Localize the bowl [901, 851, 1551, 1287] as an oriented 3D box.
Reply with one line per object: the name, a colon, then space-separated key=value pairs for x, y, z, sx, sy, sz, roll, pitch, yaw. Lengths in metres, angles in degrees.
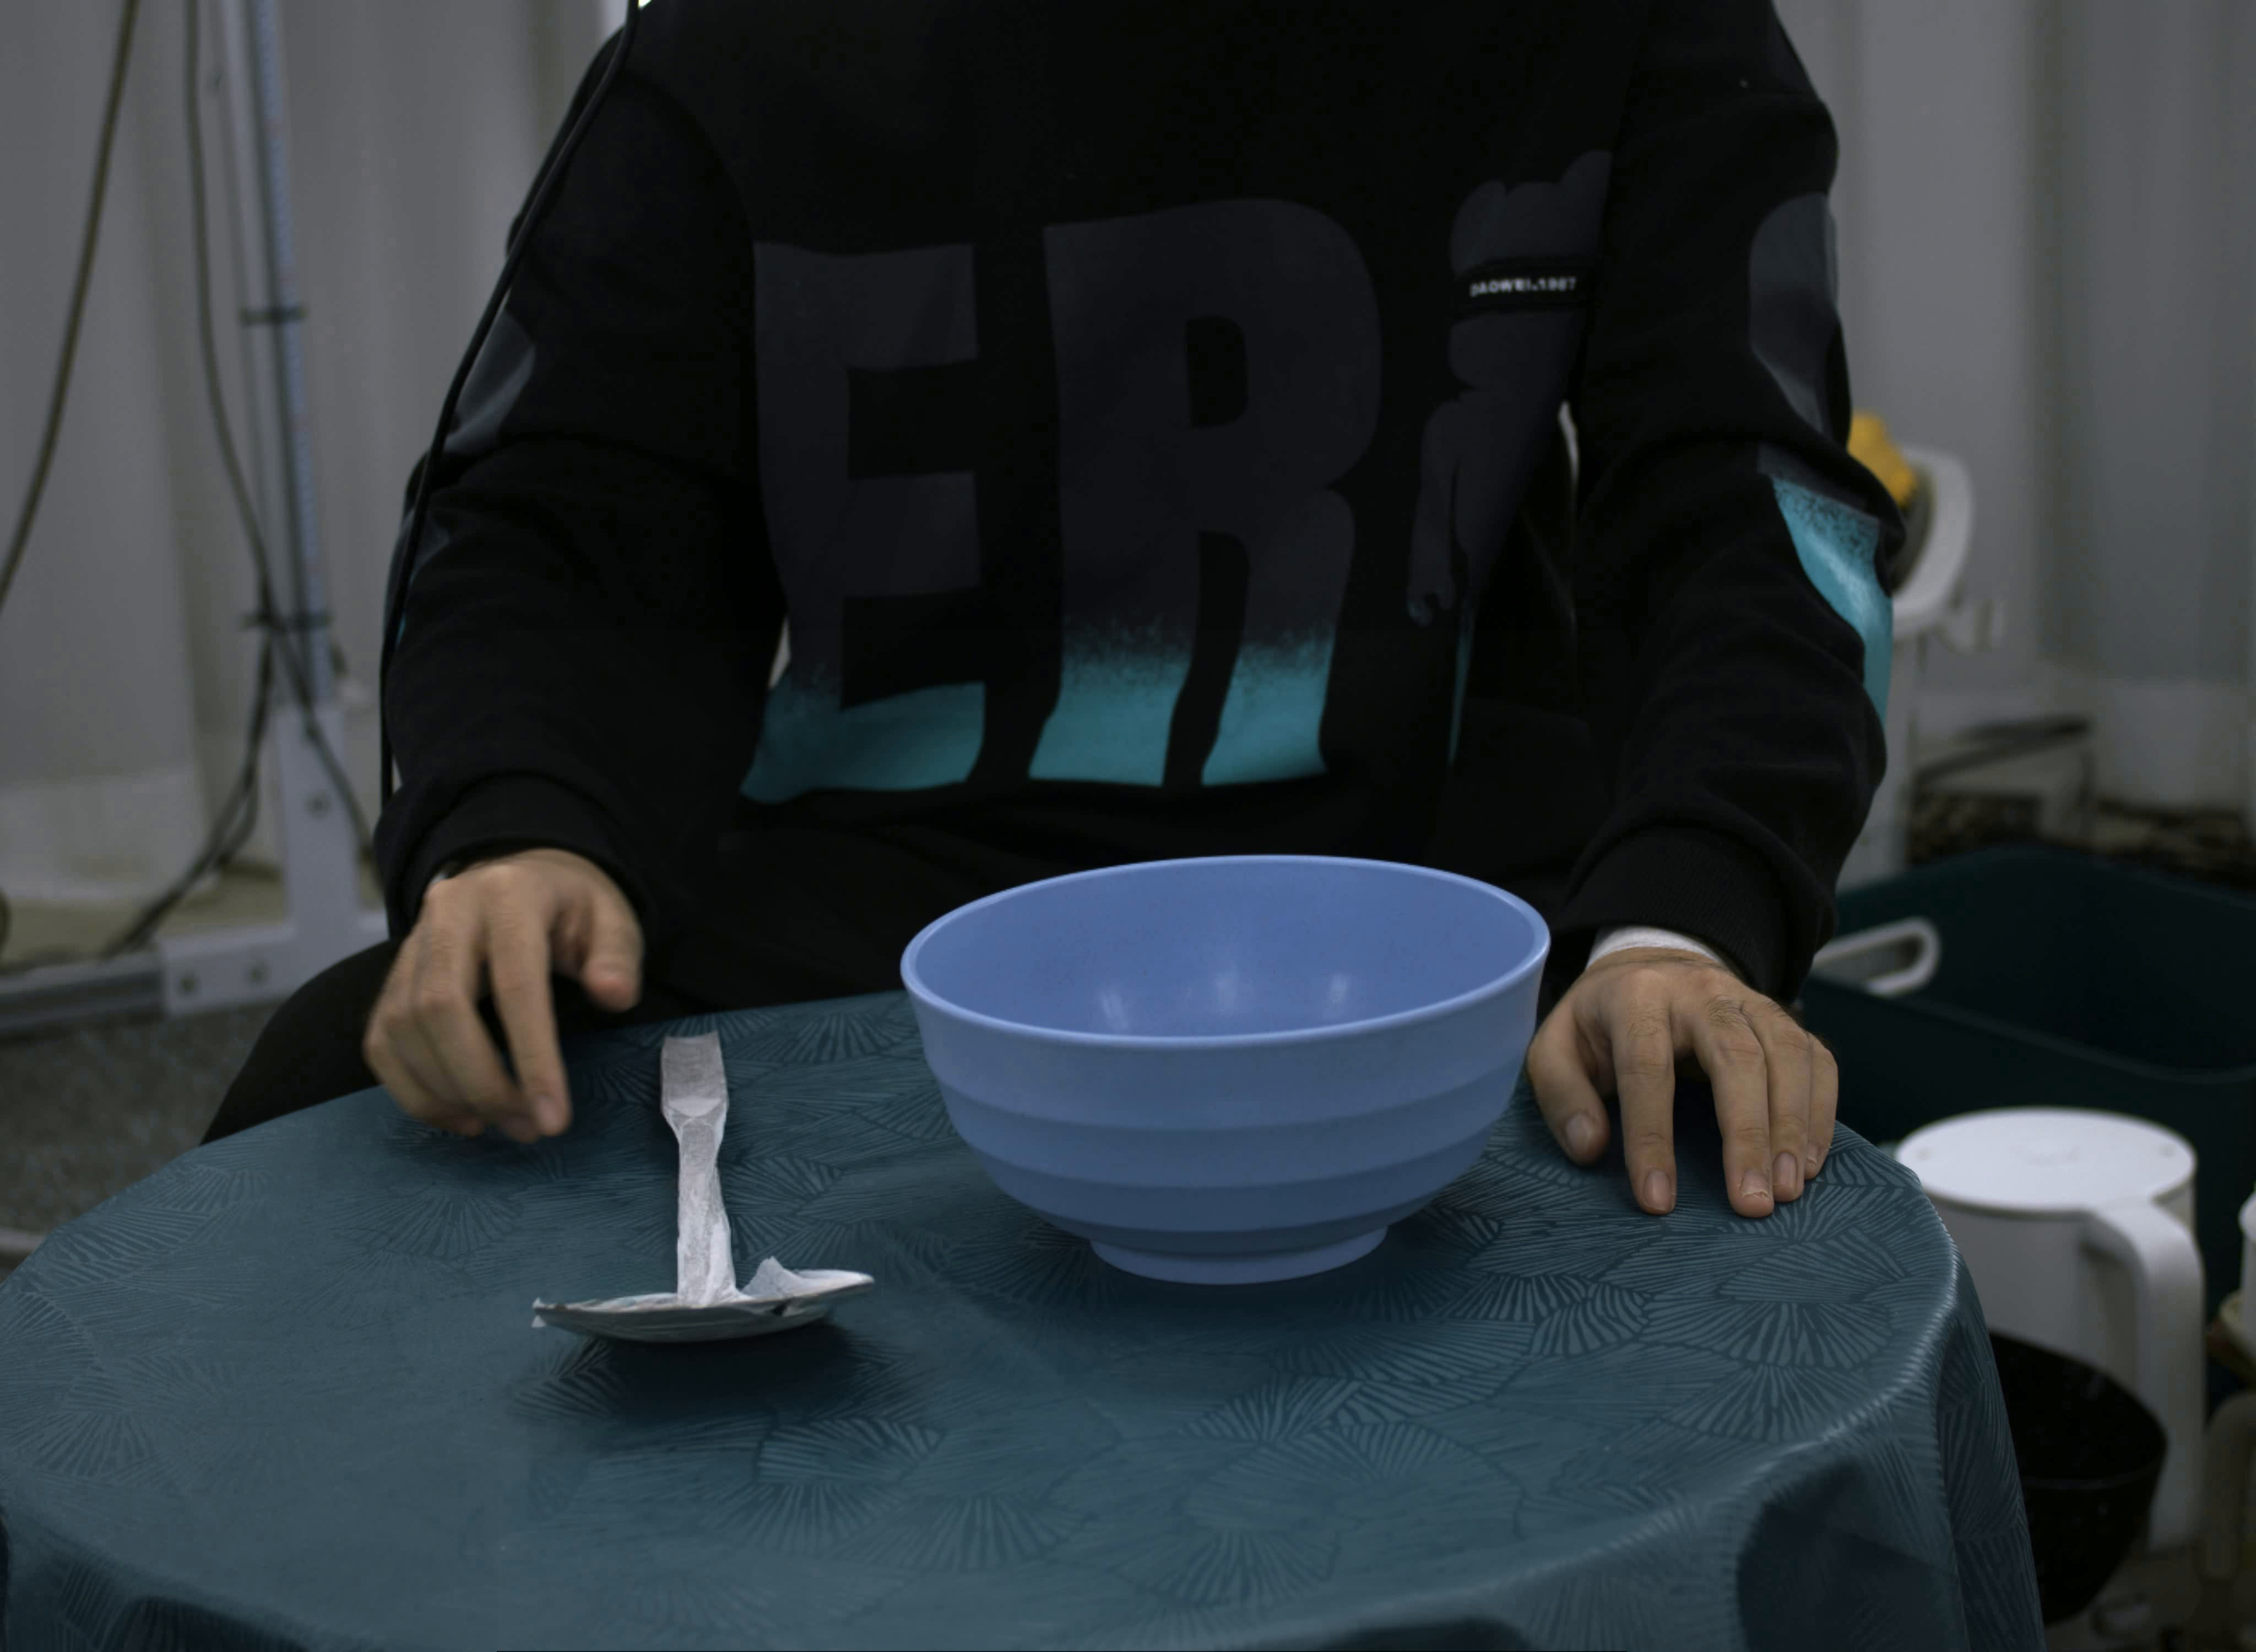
bowl: x=0.031 y=0.080 z=1.658 sx=0.196 sy=0.095 sz=0.198 roll=-3 pitch=16 yaw=1

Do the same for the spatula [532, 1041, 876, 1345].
spatula: x=-0.130 y=0.105 z=1.702 sx=0.098 sy=0.044 sz=0.367 roll=-6 pitch=15 yaw=-3
